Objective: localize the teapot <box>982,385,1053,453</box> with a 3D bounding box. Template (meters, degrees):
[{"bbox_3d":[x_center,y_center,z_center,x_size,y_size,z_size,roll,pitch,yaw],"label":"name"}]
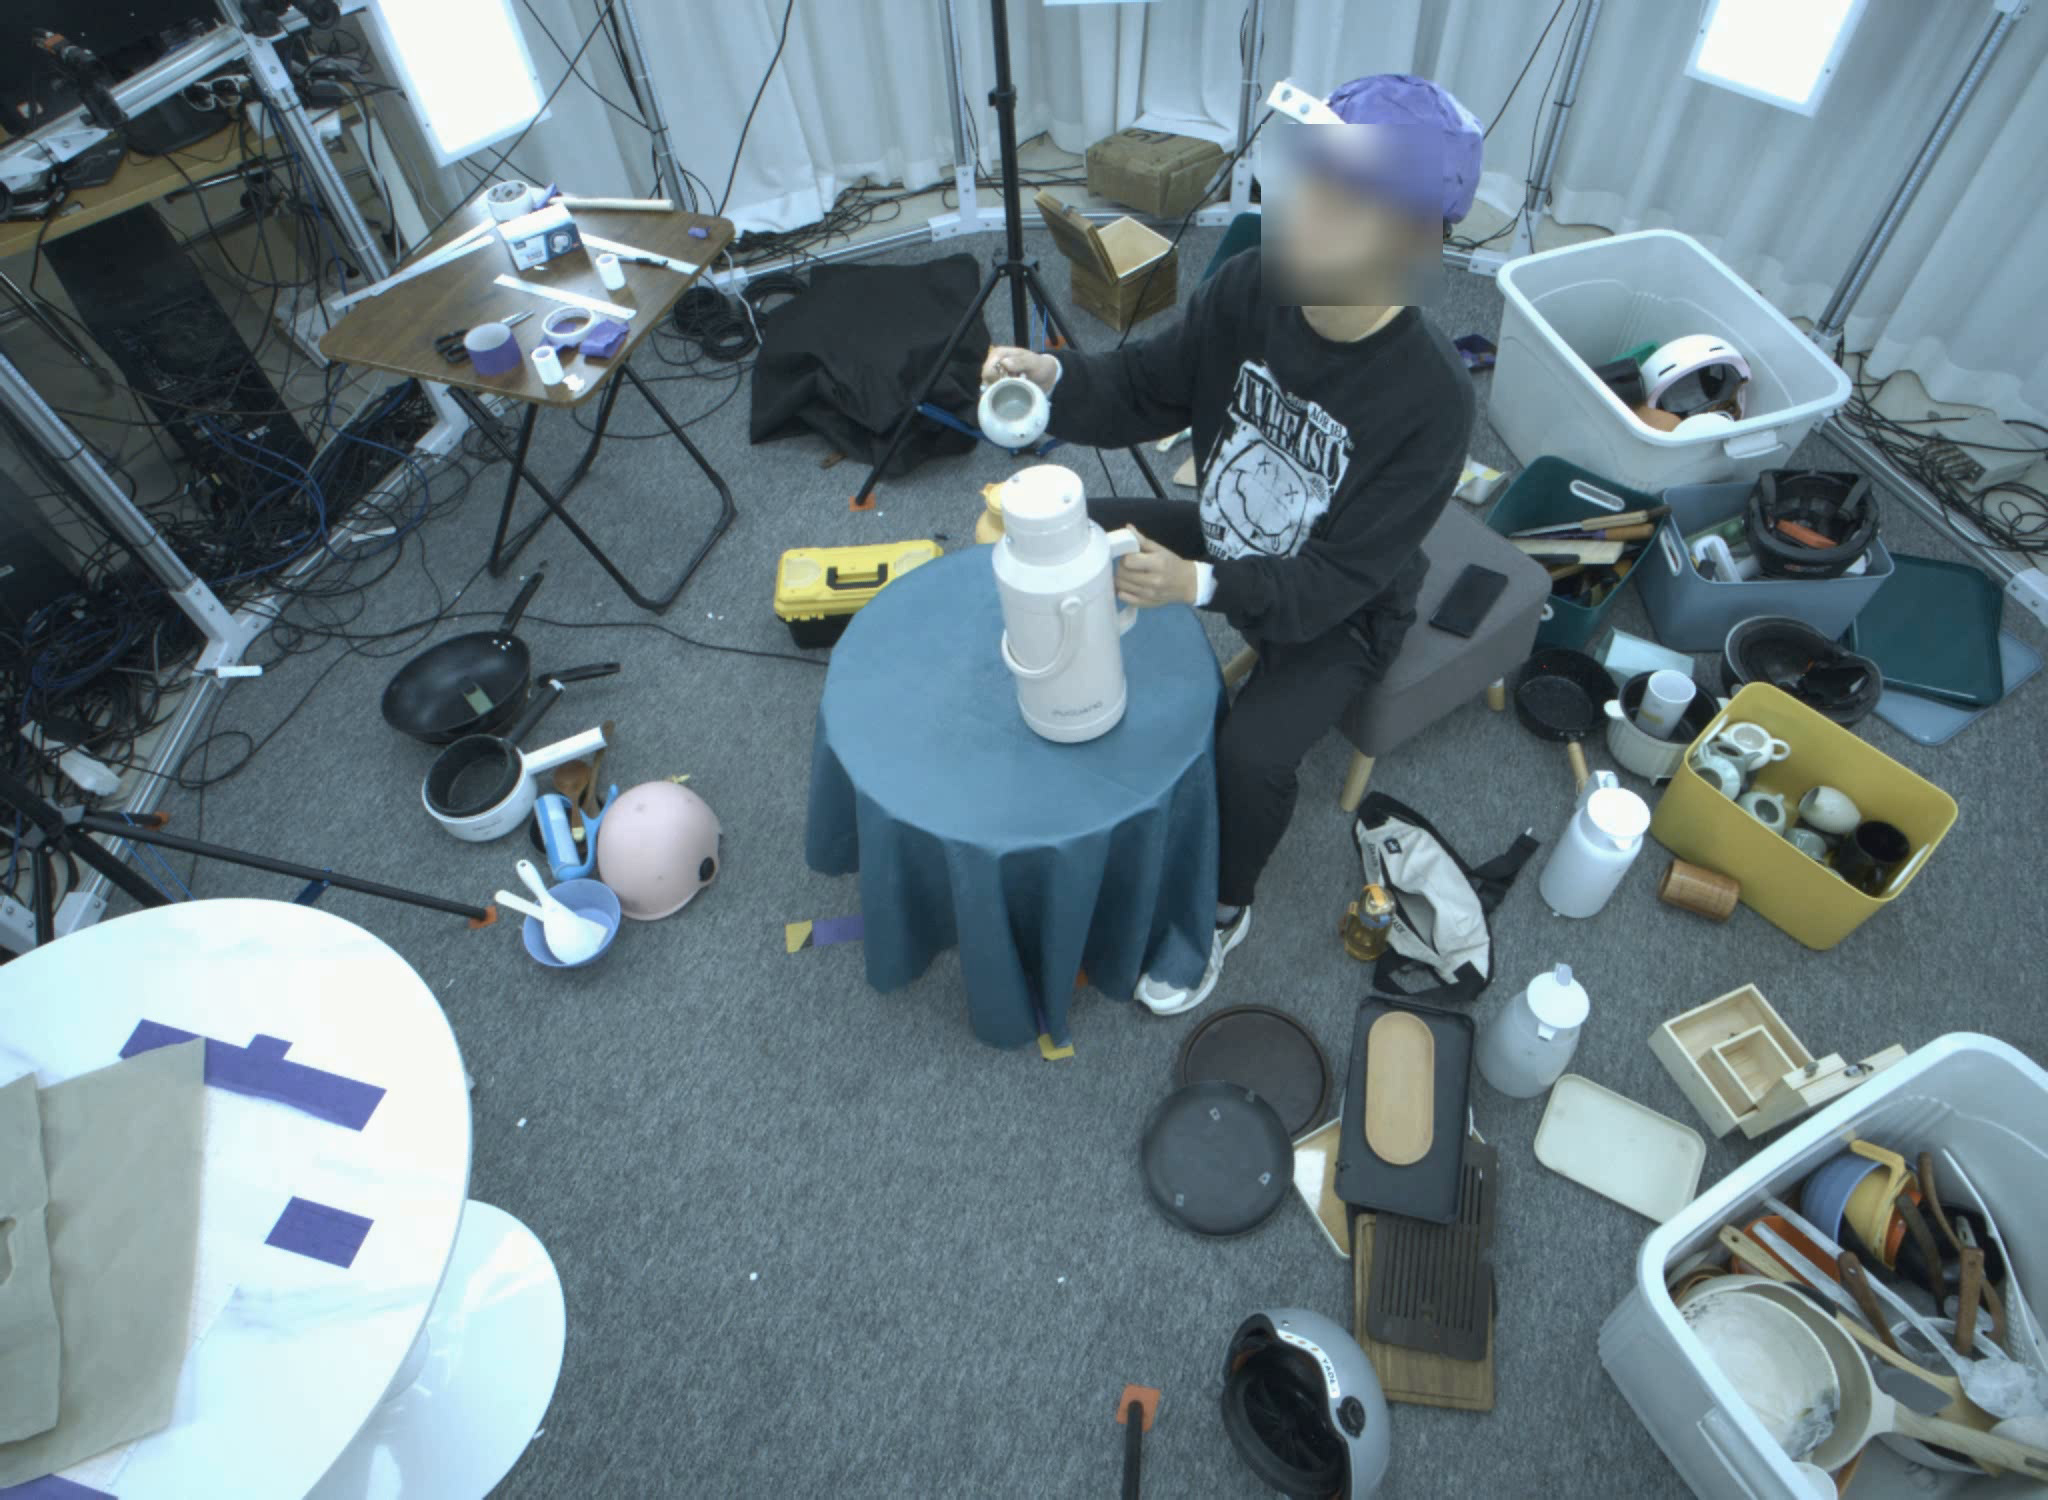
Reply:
[{"bbox_3d":[-0.012,-0.428,1.559,0.092,0.060,0.126,1,52,-9],"label":"teapot"}]

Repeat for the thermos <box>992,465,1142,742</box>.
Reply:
[{"bbox_3d":[0.063,-0.199,1.670,0.208,0.412,0.172,-19,50,-5],"label":"thermos"}]
